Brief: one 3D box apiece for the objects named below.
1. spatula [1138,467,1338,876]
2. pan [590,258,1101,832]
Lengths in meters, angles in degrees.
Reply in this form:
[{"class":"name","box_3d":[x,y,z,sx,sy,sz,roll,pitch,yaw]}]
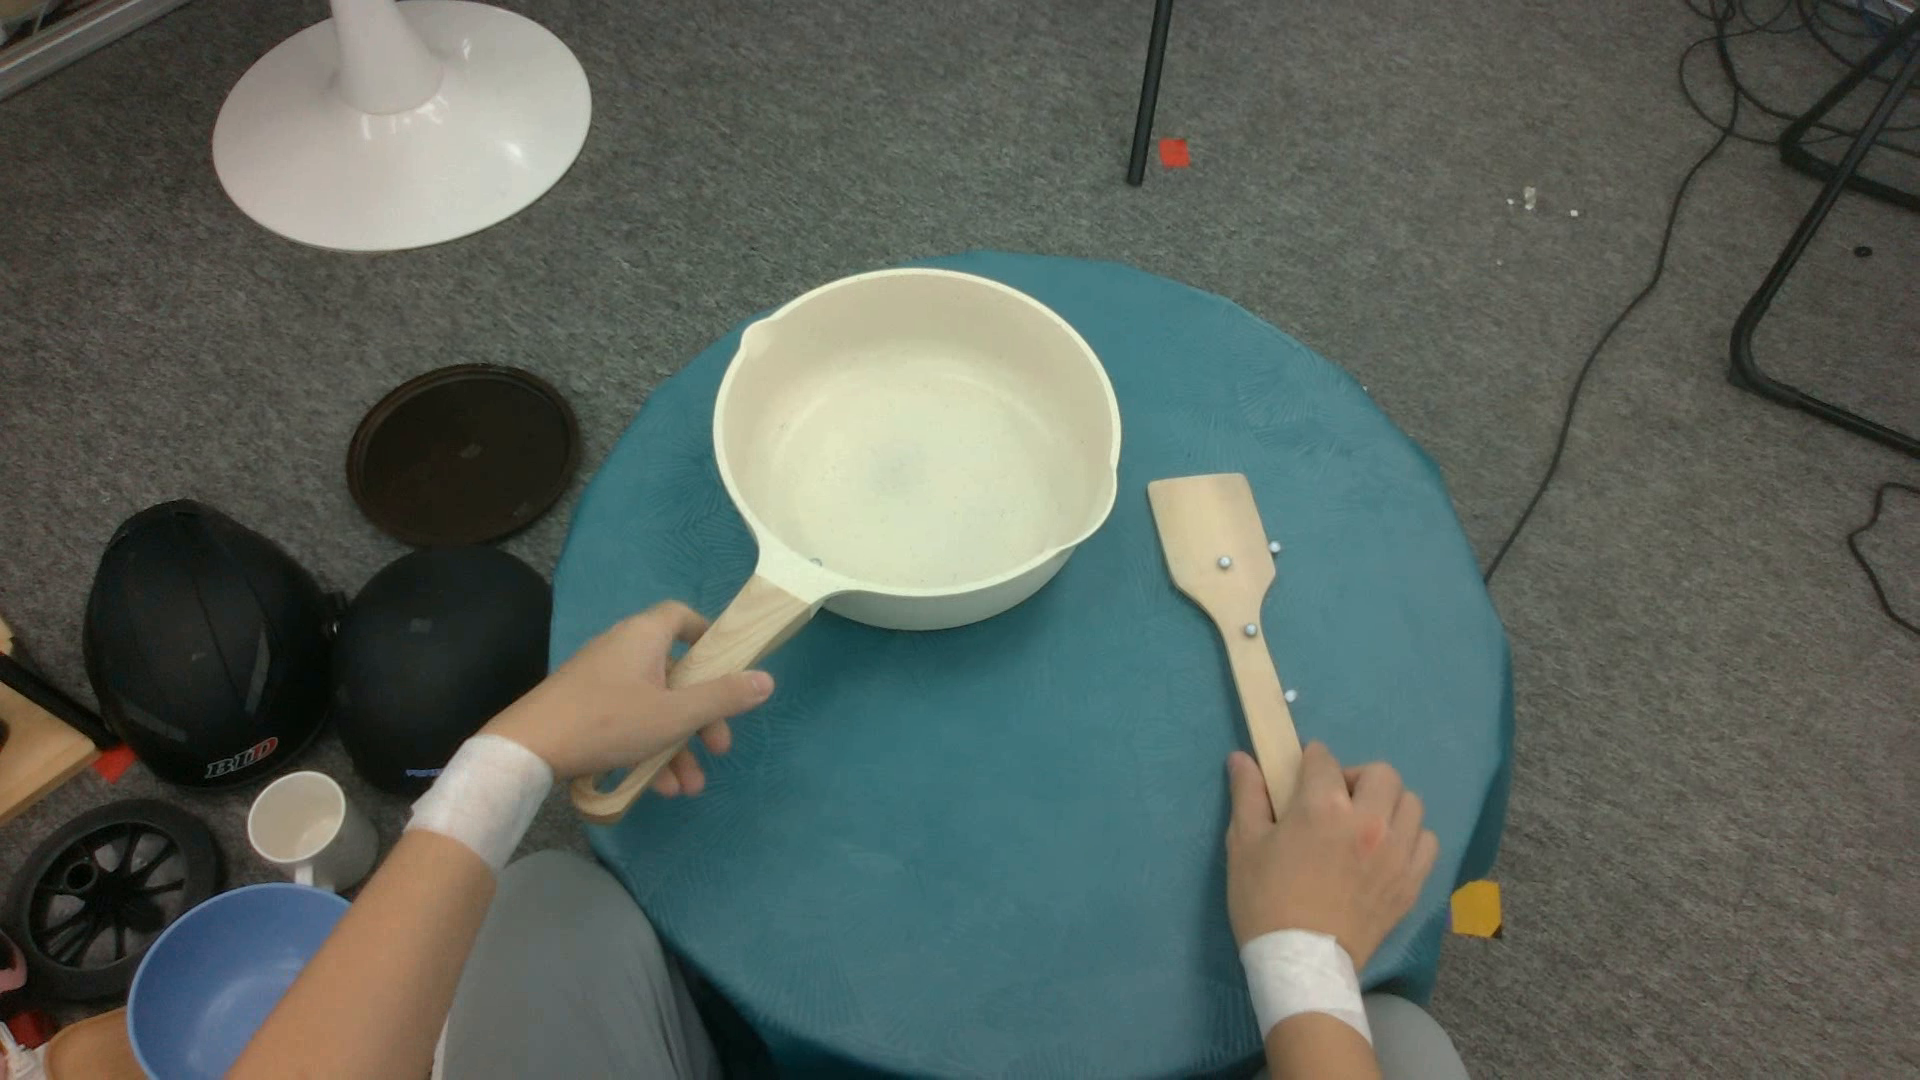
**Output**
[{"class":"spatula","box_3d":[0.179,0.071,0.858,0.072,0.010,0.294,-7,54,-7]},{"class":"pan","box_3d":[-0.082,0.004,0.844,0.263,0.101,0.437,27,61,12]}]
